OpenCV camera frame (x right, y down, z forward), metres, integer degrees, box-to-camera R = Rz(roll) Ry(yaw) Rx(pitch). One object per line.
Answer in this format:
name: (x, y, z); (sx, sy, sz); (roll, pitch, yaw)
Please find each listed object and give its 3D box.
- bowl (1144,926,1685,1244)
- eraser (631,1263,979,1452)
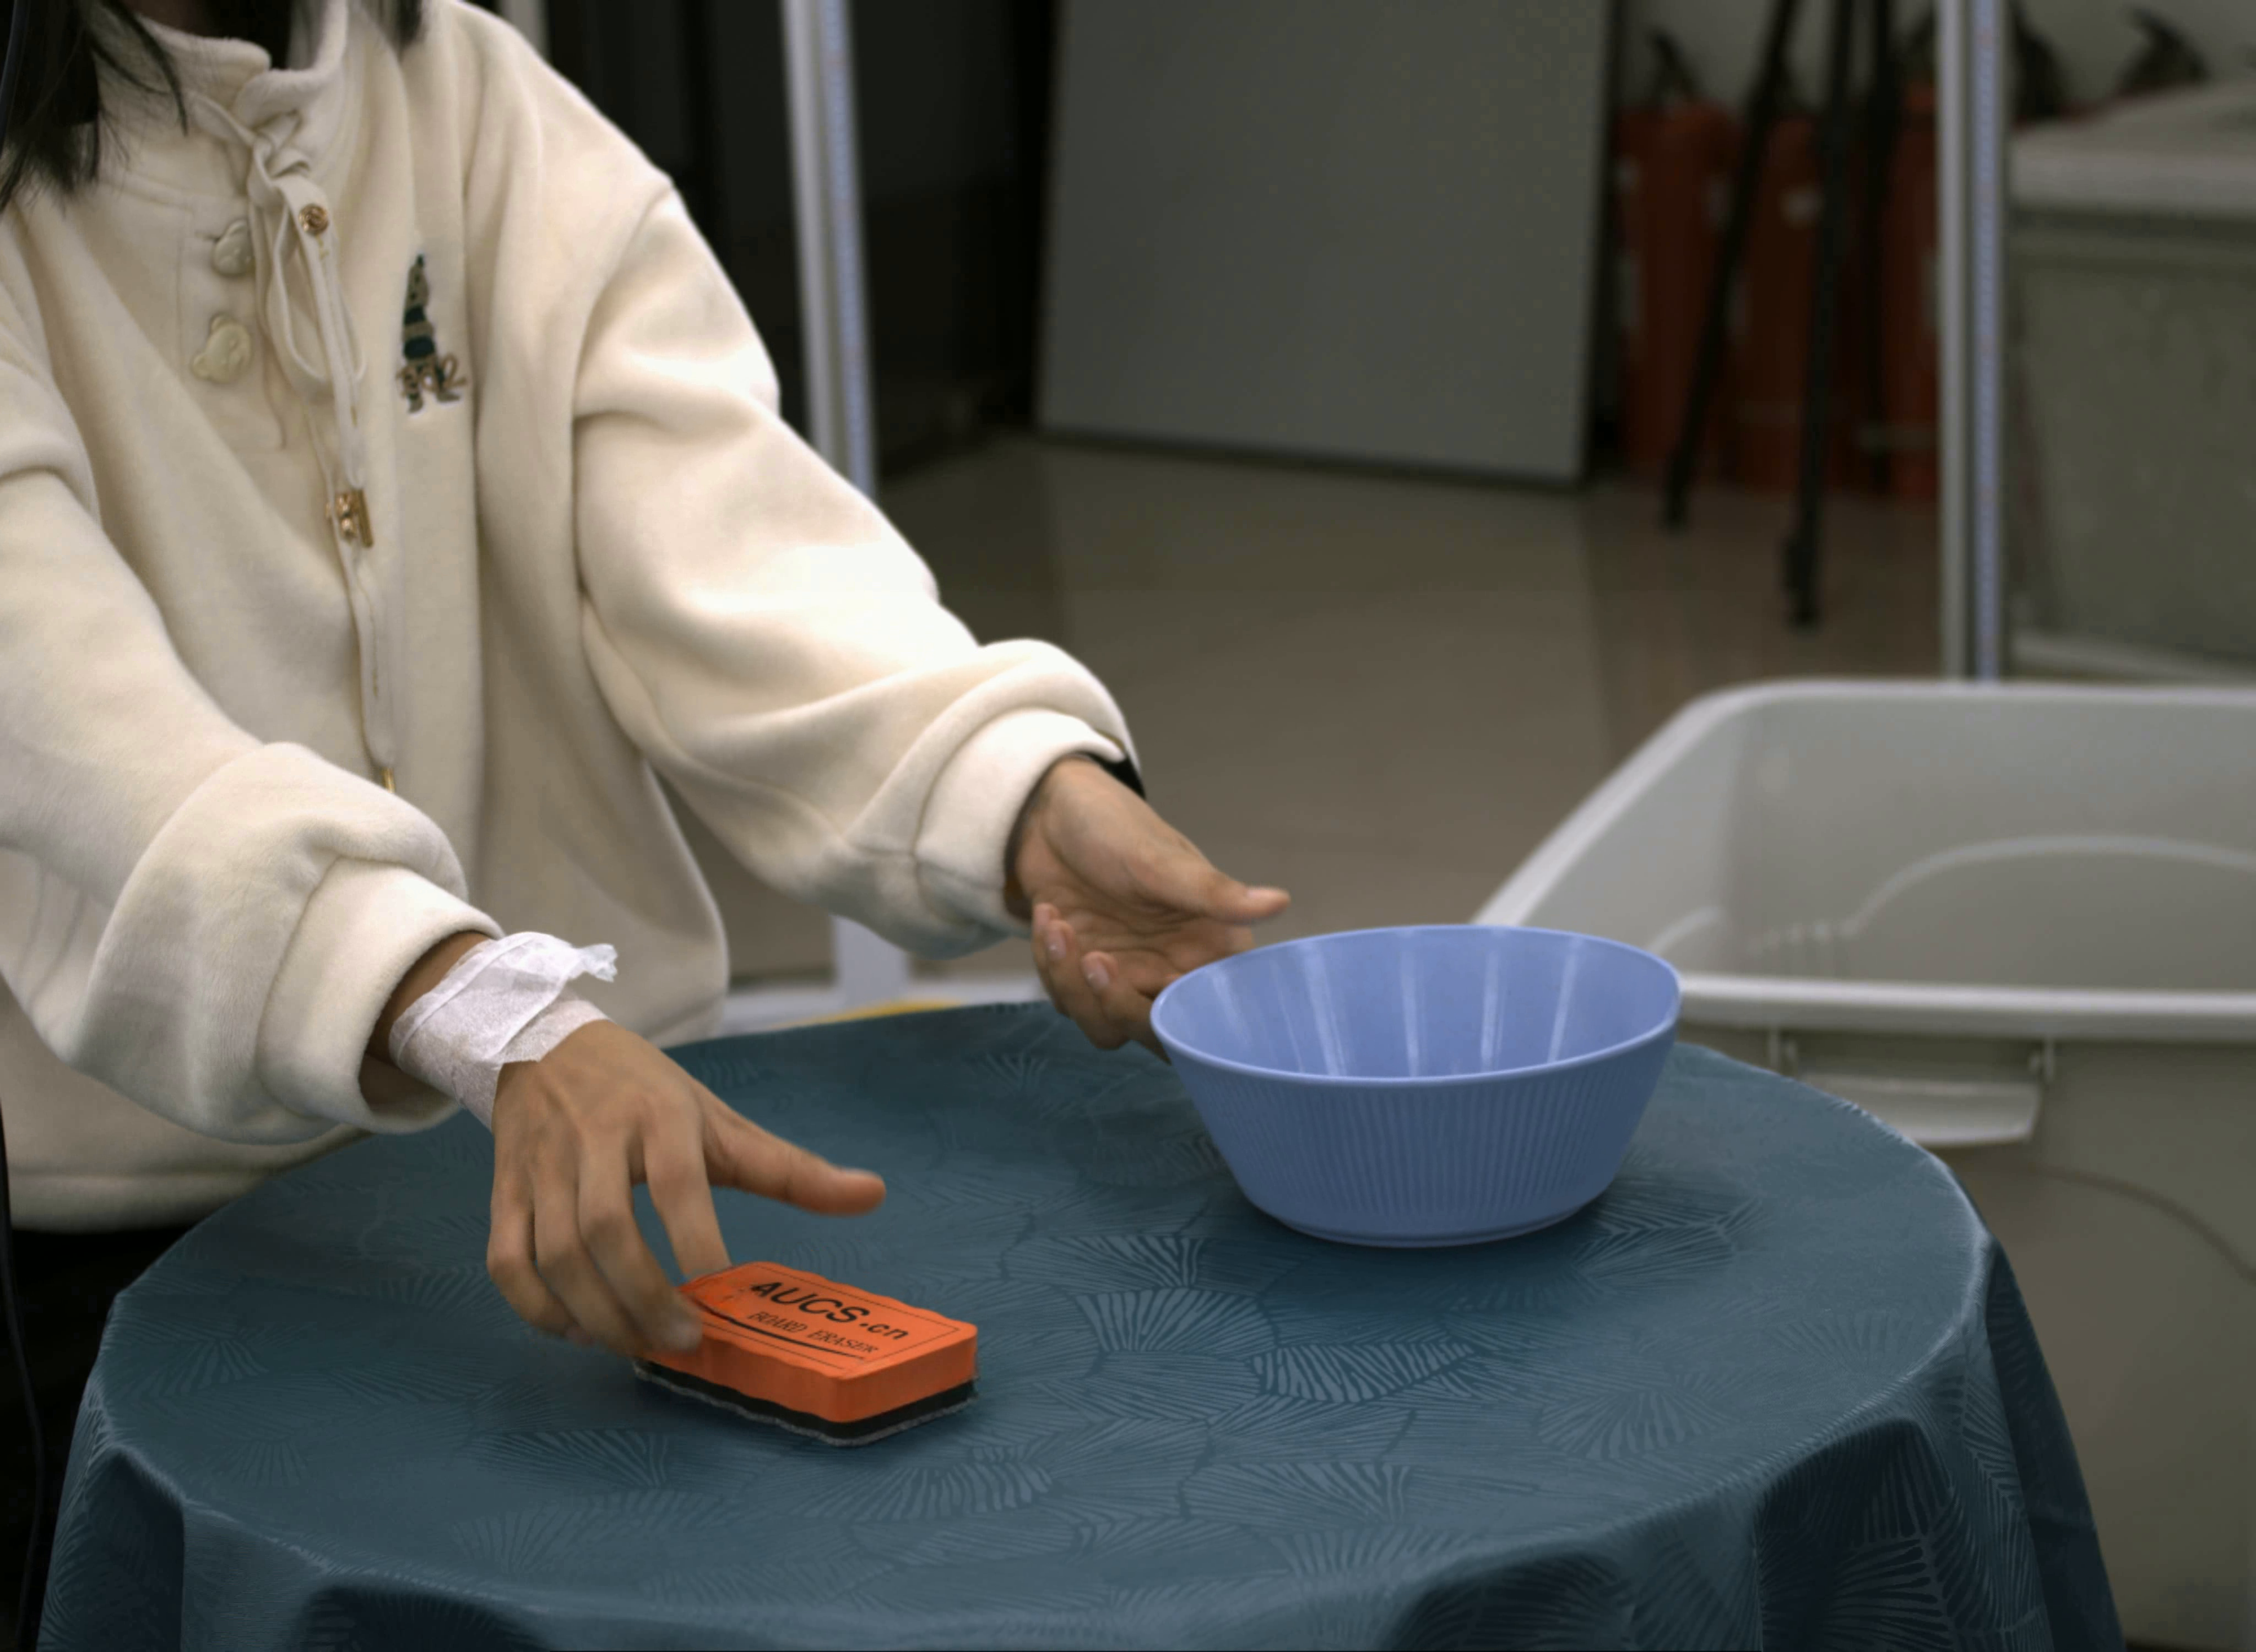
bowl: (0.094, 0.085, 1.736); (0.174, 0.071, 0.176); (-4, 14, 0)
eraser: (-0.096, 0.157, 1.605); (0.058, 0.023, 0.109); (-18, 19, -38)
